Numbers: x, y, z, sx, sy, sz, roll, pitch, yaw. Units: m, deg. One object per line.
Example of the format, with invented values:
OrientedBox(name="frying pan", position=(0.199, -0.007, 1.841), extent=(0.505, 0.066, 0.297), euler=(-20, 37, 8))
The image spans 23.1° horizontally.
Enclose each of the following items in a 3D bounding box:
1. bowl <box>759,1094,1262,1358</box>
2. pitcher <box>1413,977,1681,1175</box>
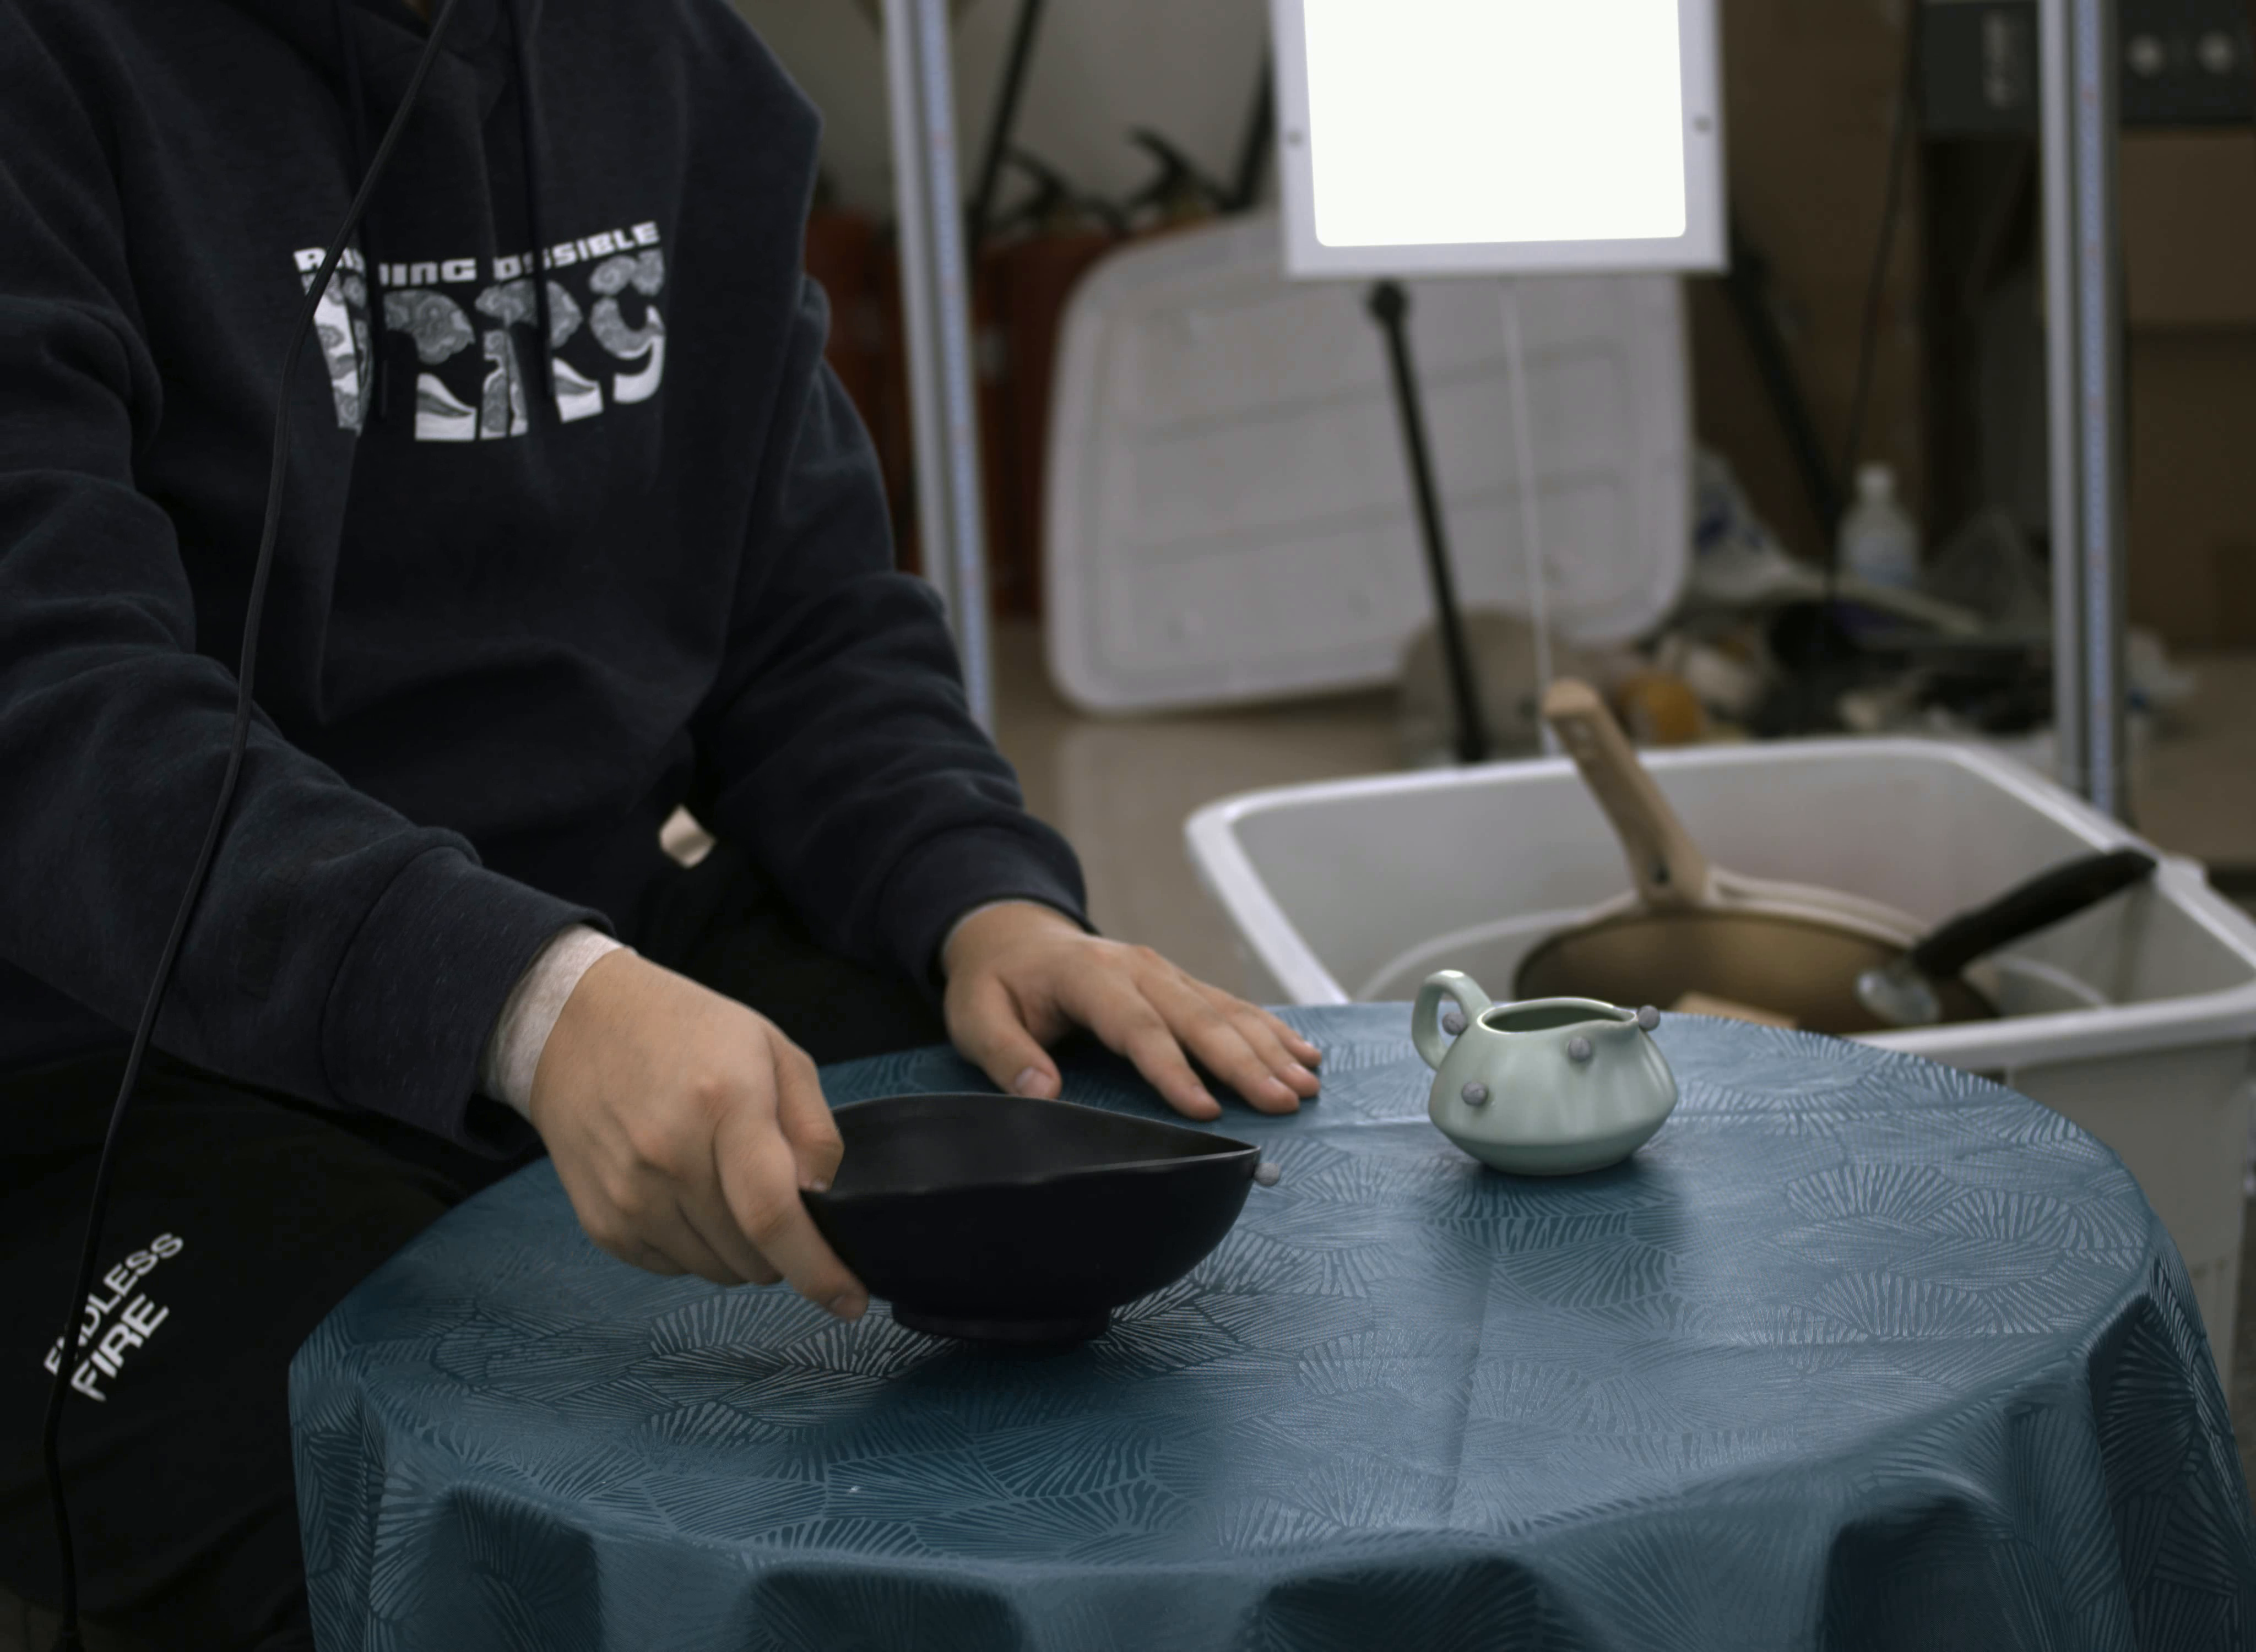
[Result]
OrientedBox(name="bowl", position=(-0.037, 0.129, 1.741), extent=(0.166, 0.067, 0.140), euler=(-4, 9, -39))
OrientedBox(name="pitcher", position=(0.139, 0.086, 1.900), extent=(0.084, 0.060, 0.110), euler=(-15, 15, -40))
